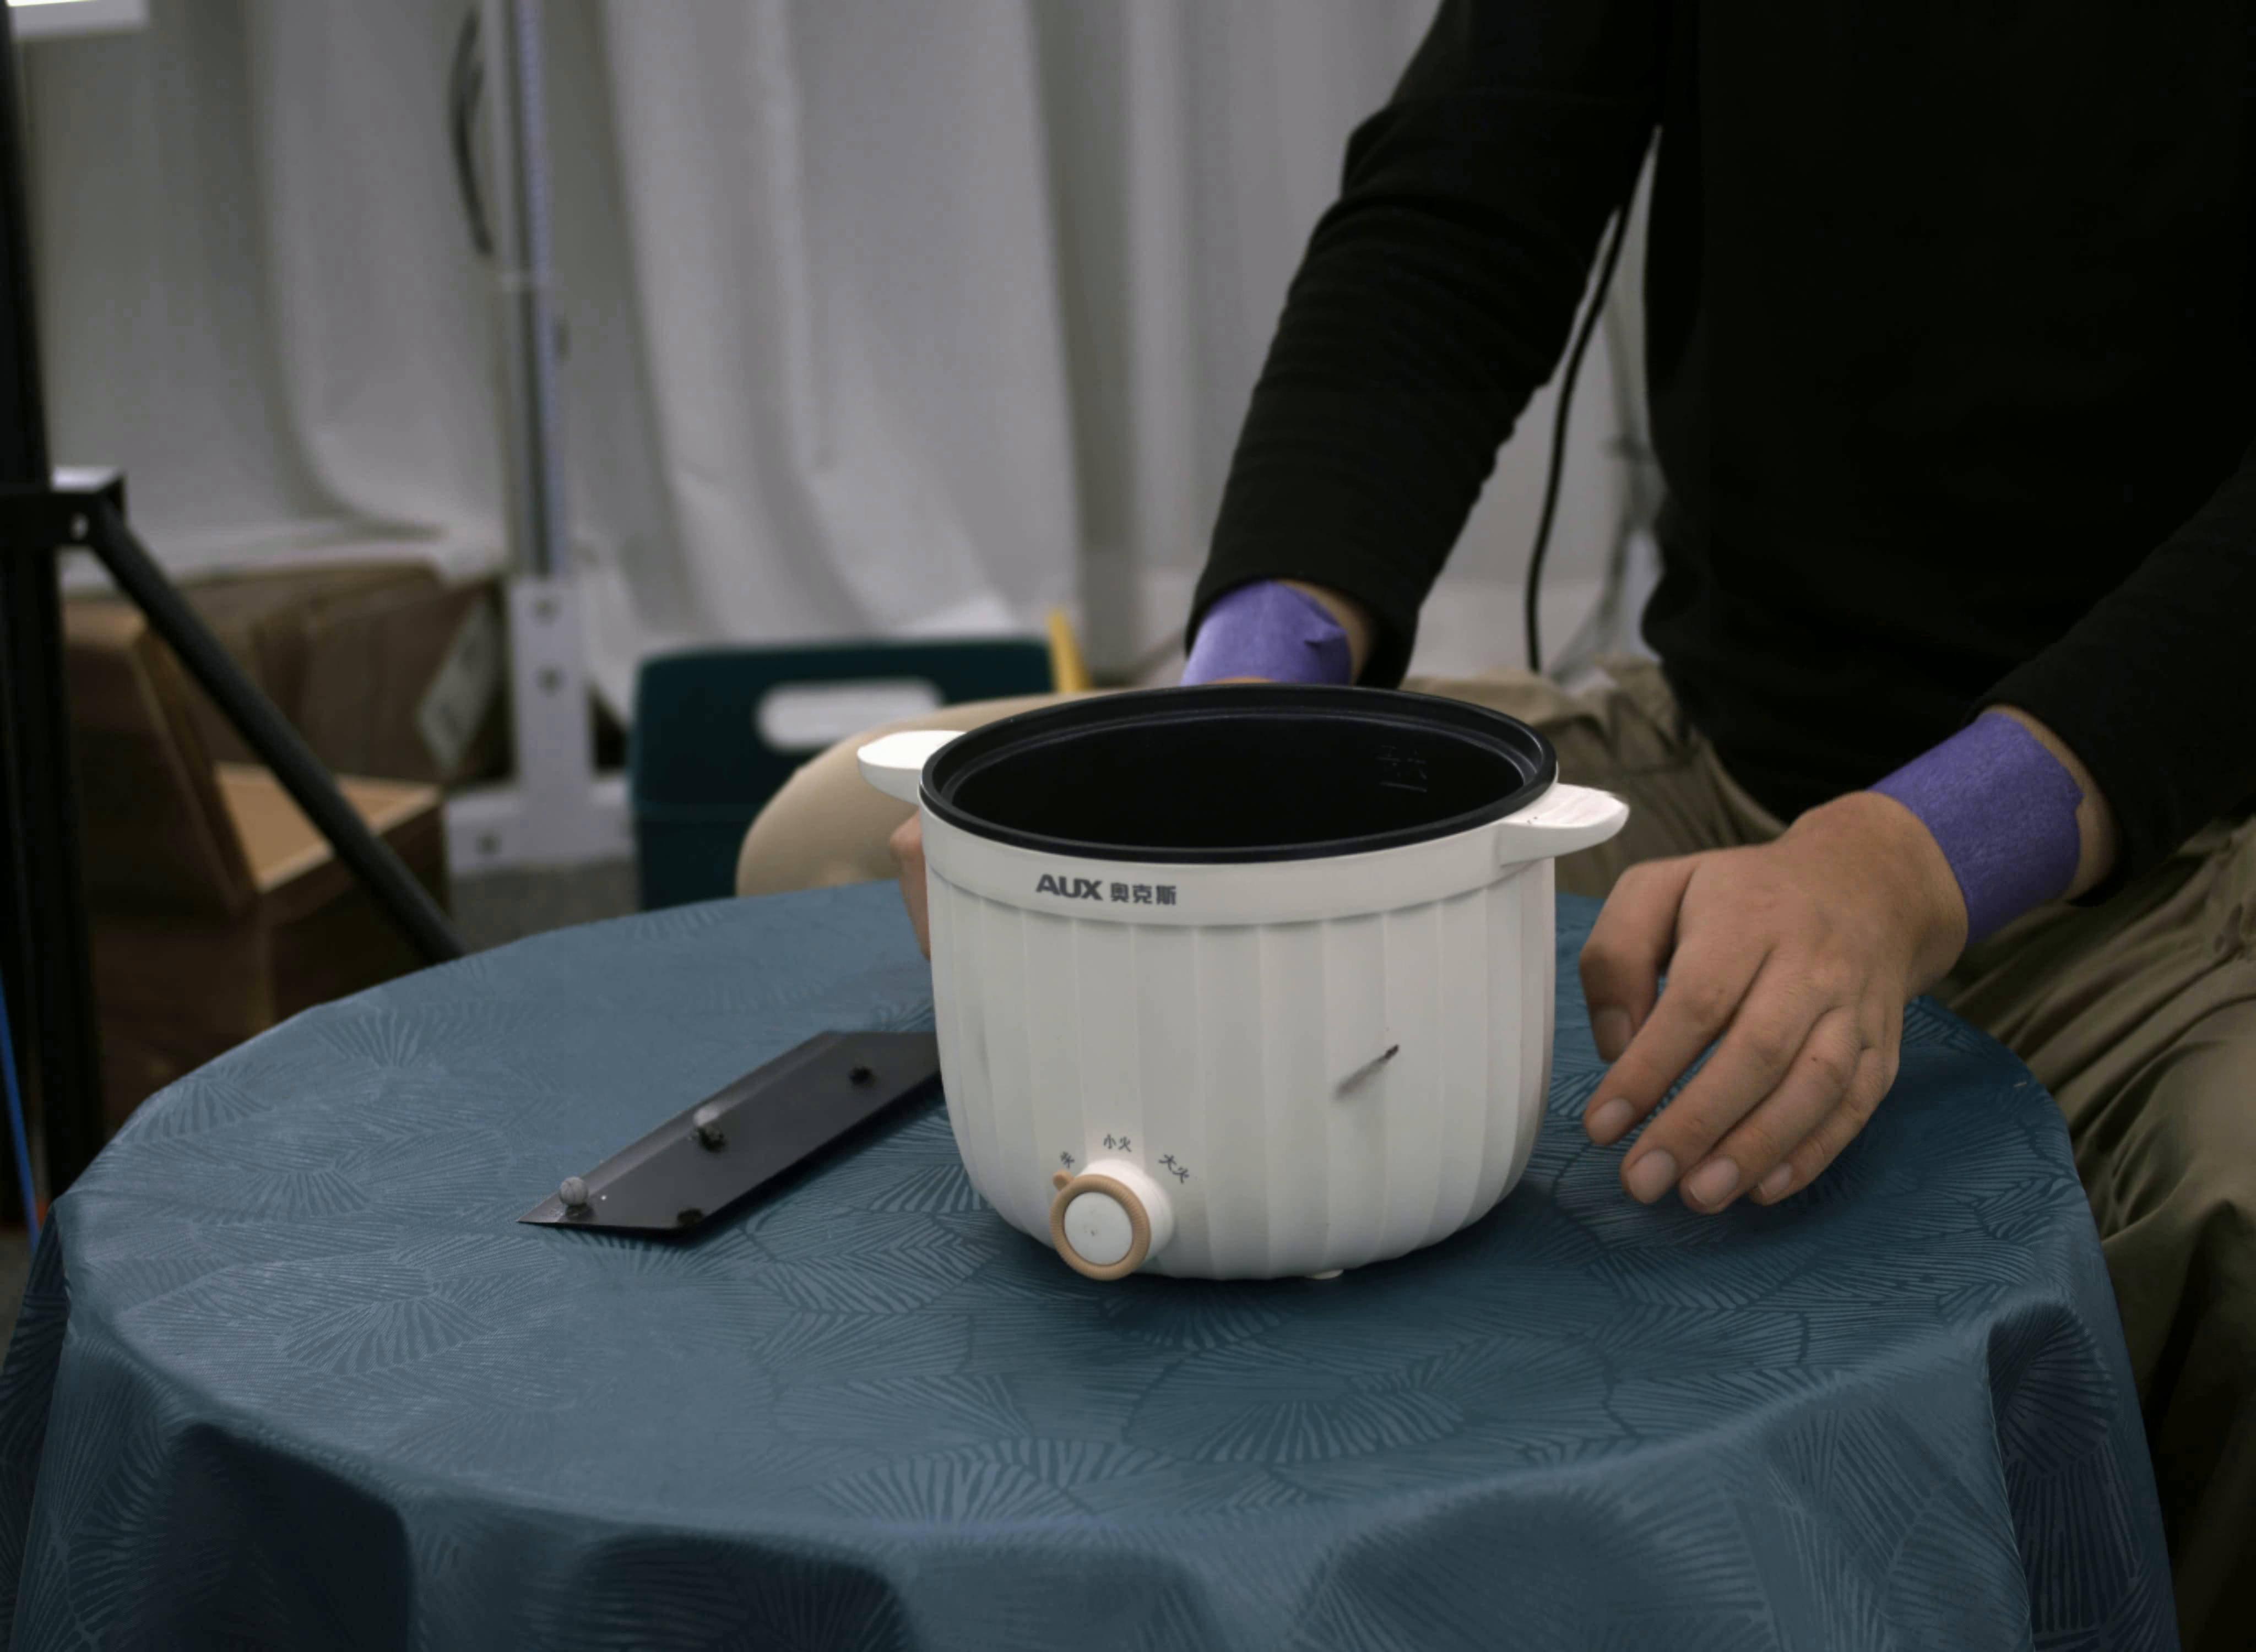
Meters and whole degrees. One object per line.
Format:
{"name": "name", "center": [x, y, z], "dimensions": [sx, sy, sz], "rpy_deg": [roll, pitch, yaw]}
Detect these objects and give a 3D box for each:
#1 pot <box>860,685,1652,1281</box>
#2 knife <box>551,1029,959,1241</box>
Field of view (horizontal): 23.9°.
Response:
{"name": "pot", "center": [0.033, 0.048, 1.510], "dimensions": [0.244, 0.143, 0.187], "rpy_deg": [4, 13, 26]}
{"name": "knife", "center": [-0.073, 0.075, 1.656], "dimensions": [0.082, 0.021, 0.297], "rpy_deg": [2, 18, 33]}
